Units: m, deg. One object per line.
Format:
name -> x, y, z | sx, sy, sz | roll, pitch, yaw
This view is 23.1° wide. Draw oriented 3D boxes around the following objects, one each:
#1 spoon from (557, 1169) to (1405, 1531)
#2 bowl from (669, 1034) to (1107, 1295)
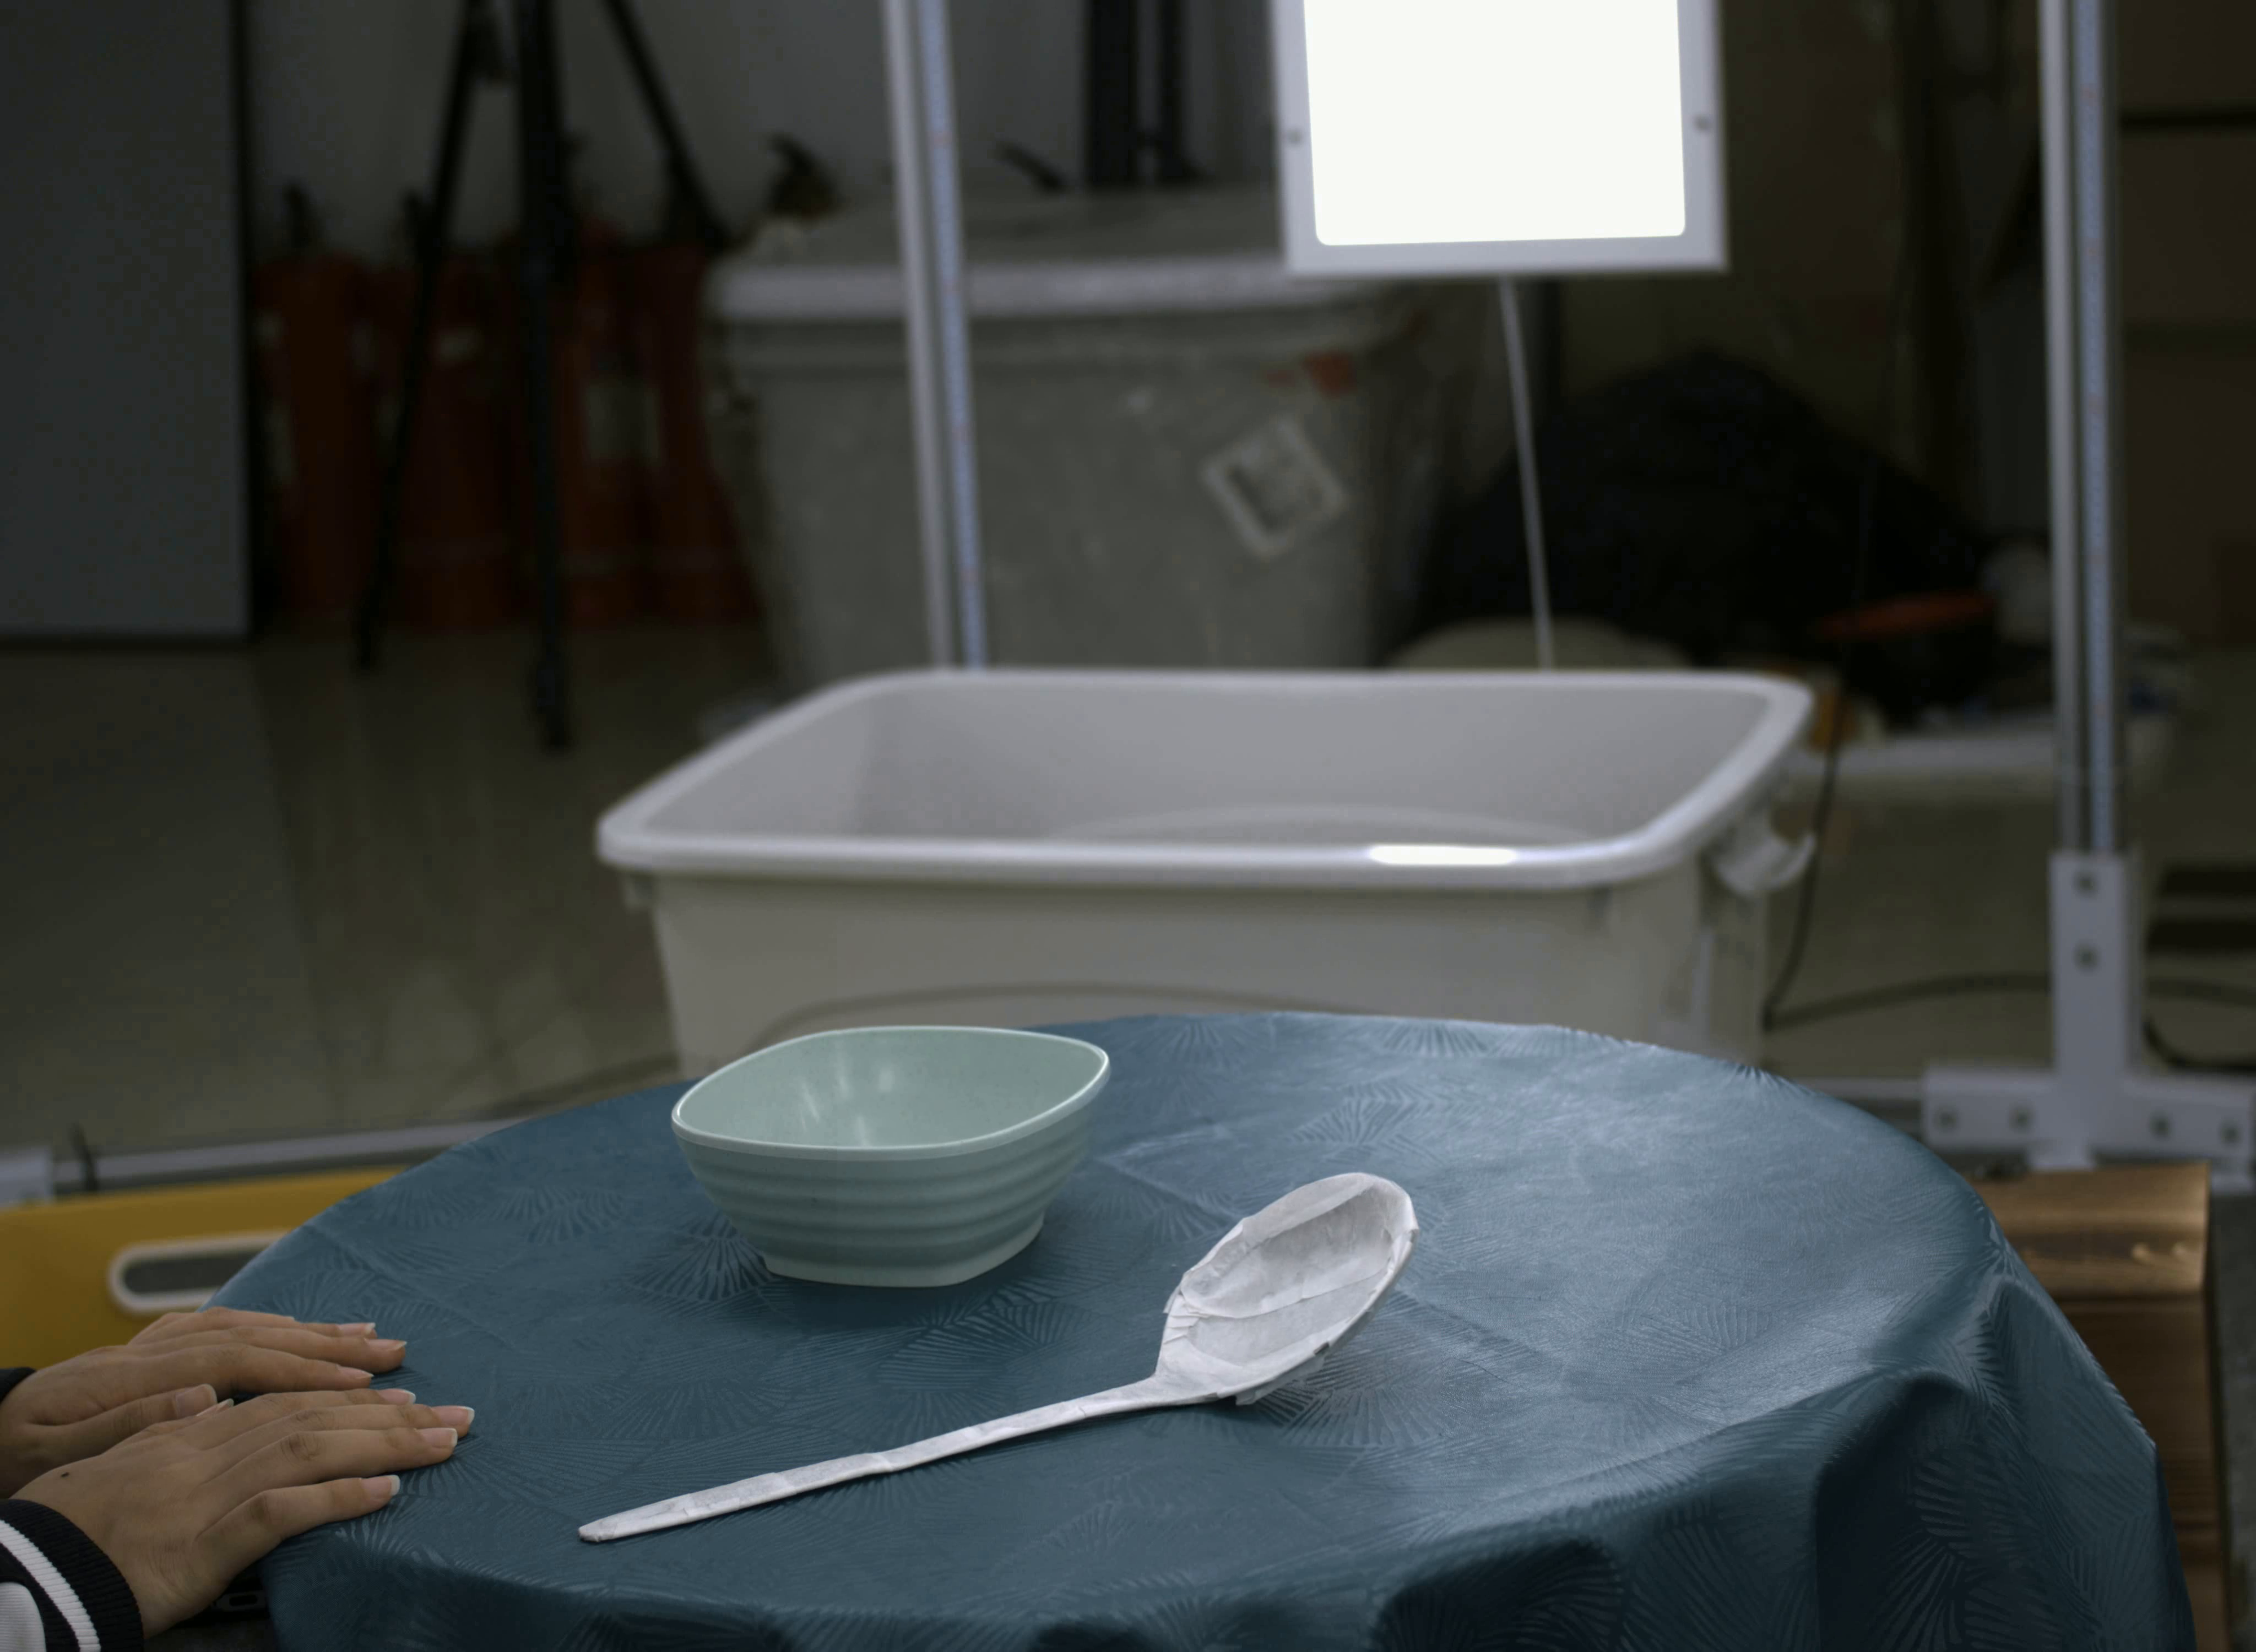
spoon -> -0.045, 0.157, 1.671 | 0.272, 0.059, 0.102 | -10, 10, -19
bowl -> -0.078, 0.117, 1.856 | 0.151, 0.059, 0.151 | -5, 14, 0
